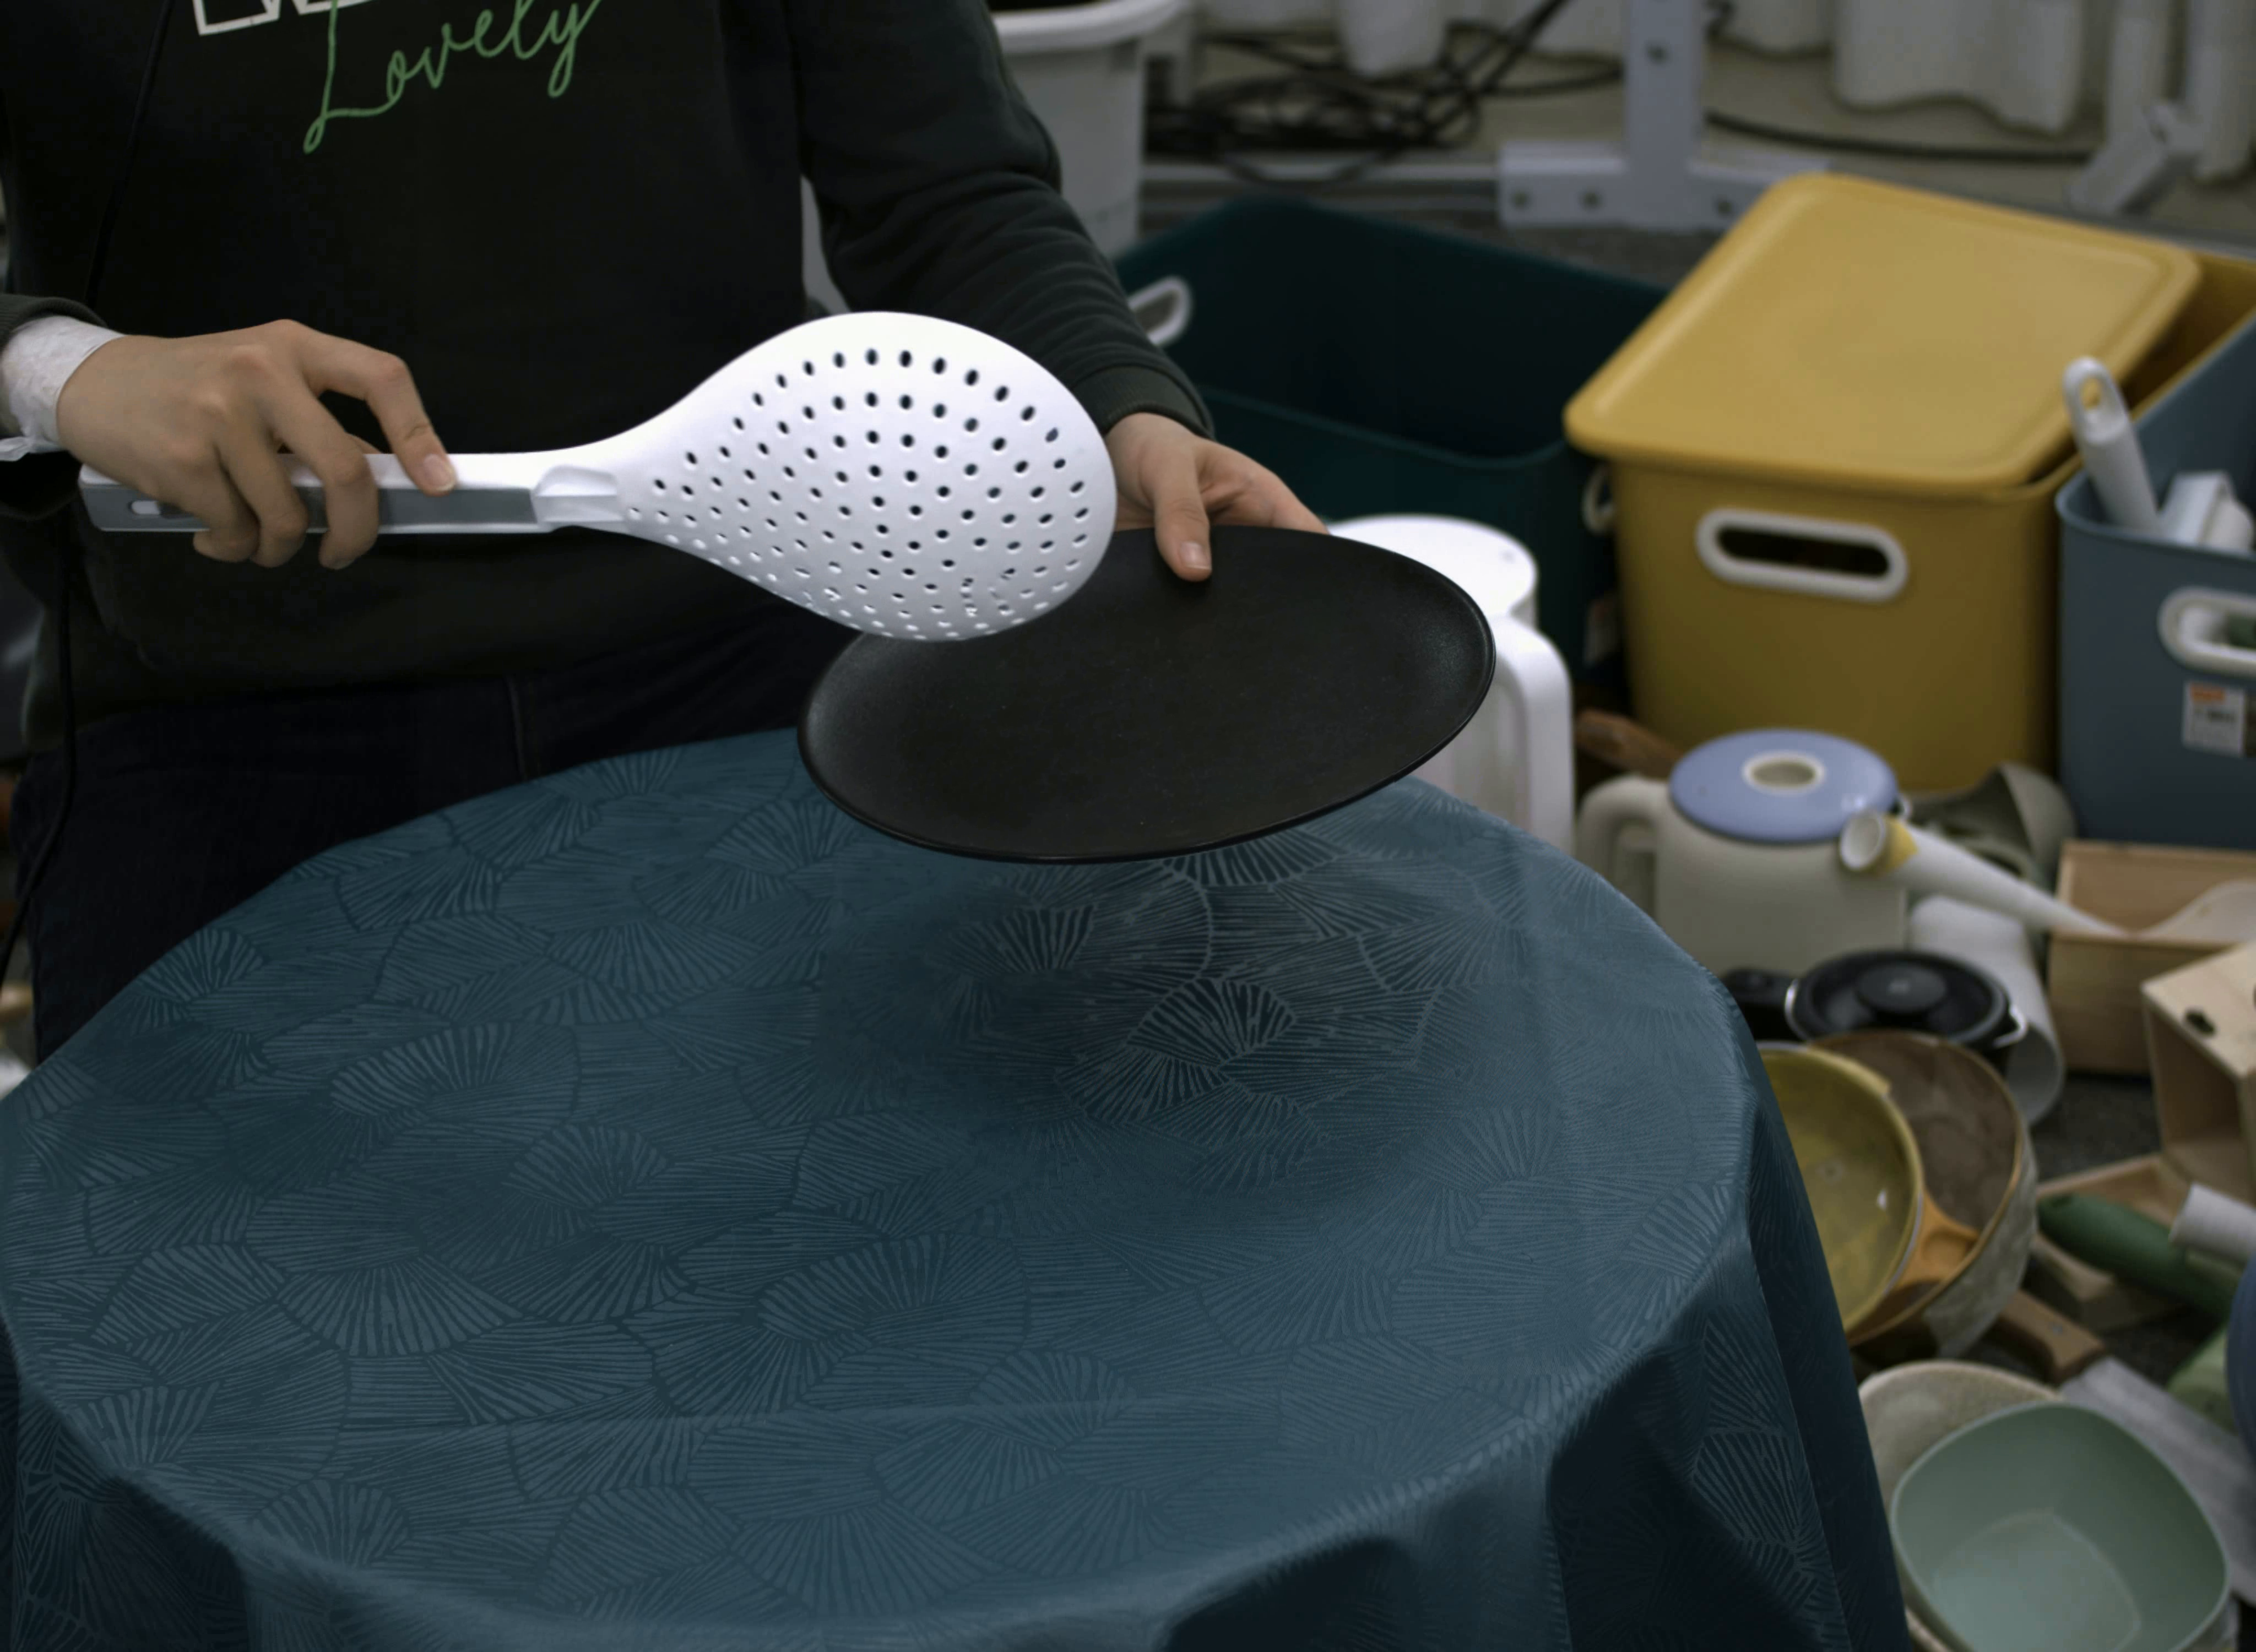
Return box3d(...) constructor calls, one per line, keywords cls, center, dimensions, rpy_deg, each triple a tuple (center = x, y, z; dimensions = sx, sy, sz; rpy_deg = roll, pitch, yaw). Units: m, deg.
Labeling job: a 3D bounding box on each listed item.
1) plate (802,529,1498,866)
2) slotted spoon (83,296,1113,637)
box3d(cls="plate", center=(0.008, -0.041, 1.946), dimensions=(0.243, 0.023, 0.248), rpy_deg=(-6, 28, 3))
box3d(cls="slotted spoon", center=(-0.178, -0.111, 1.849), dimensions=(0.347, 0.134, 0.046), rpy_deg=(3, 40, 16))
